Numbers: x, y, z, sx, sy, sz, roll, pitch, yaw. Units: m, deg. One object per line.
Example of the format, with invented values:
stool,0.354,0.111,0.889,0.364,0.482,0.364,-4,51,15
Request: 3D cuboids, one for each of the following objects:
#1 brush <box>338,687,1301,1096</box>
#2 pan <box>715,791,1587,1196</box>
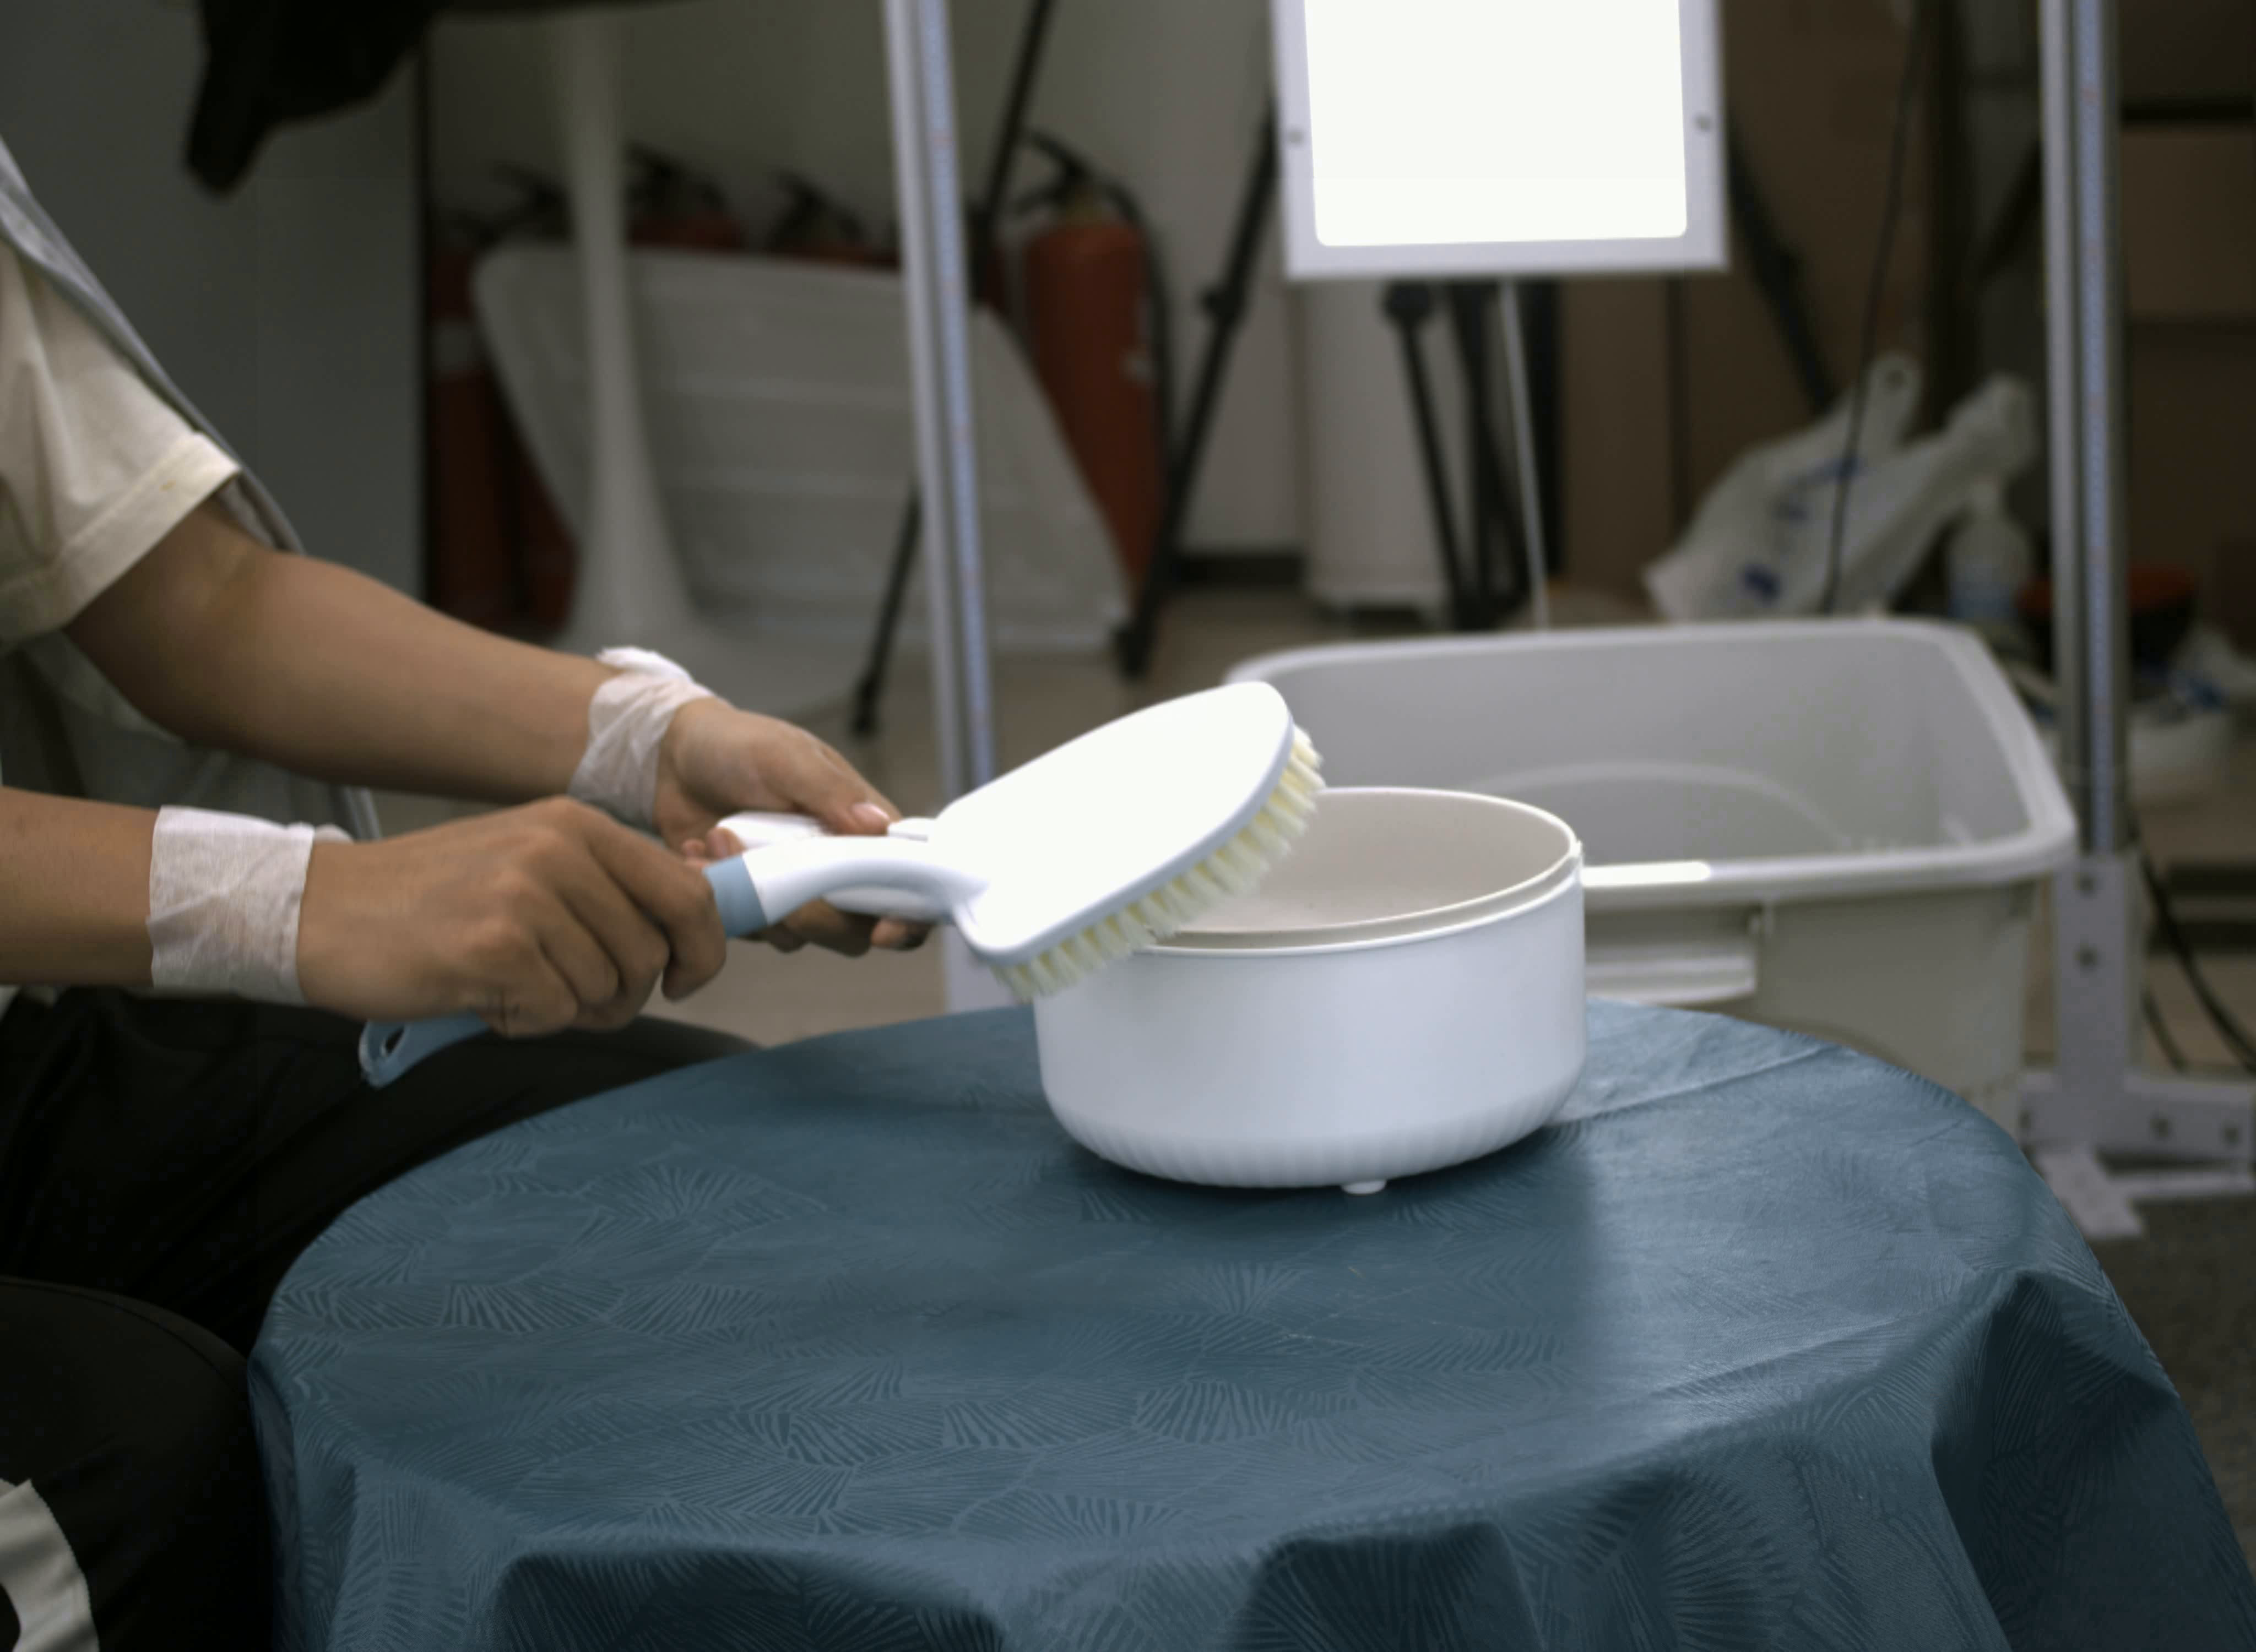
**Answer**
brush,-0.097,0.038,1.786,0.324,0.084,0.083,-21,11,-4
pan,0.001,0.055,1.980,0.362,0.102,0.196,4,17,36
